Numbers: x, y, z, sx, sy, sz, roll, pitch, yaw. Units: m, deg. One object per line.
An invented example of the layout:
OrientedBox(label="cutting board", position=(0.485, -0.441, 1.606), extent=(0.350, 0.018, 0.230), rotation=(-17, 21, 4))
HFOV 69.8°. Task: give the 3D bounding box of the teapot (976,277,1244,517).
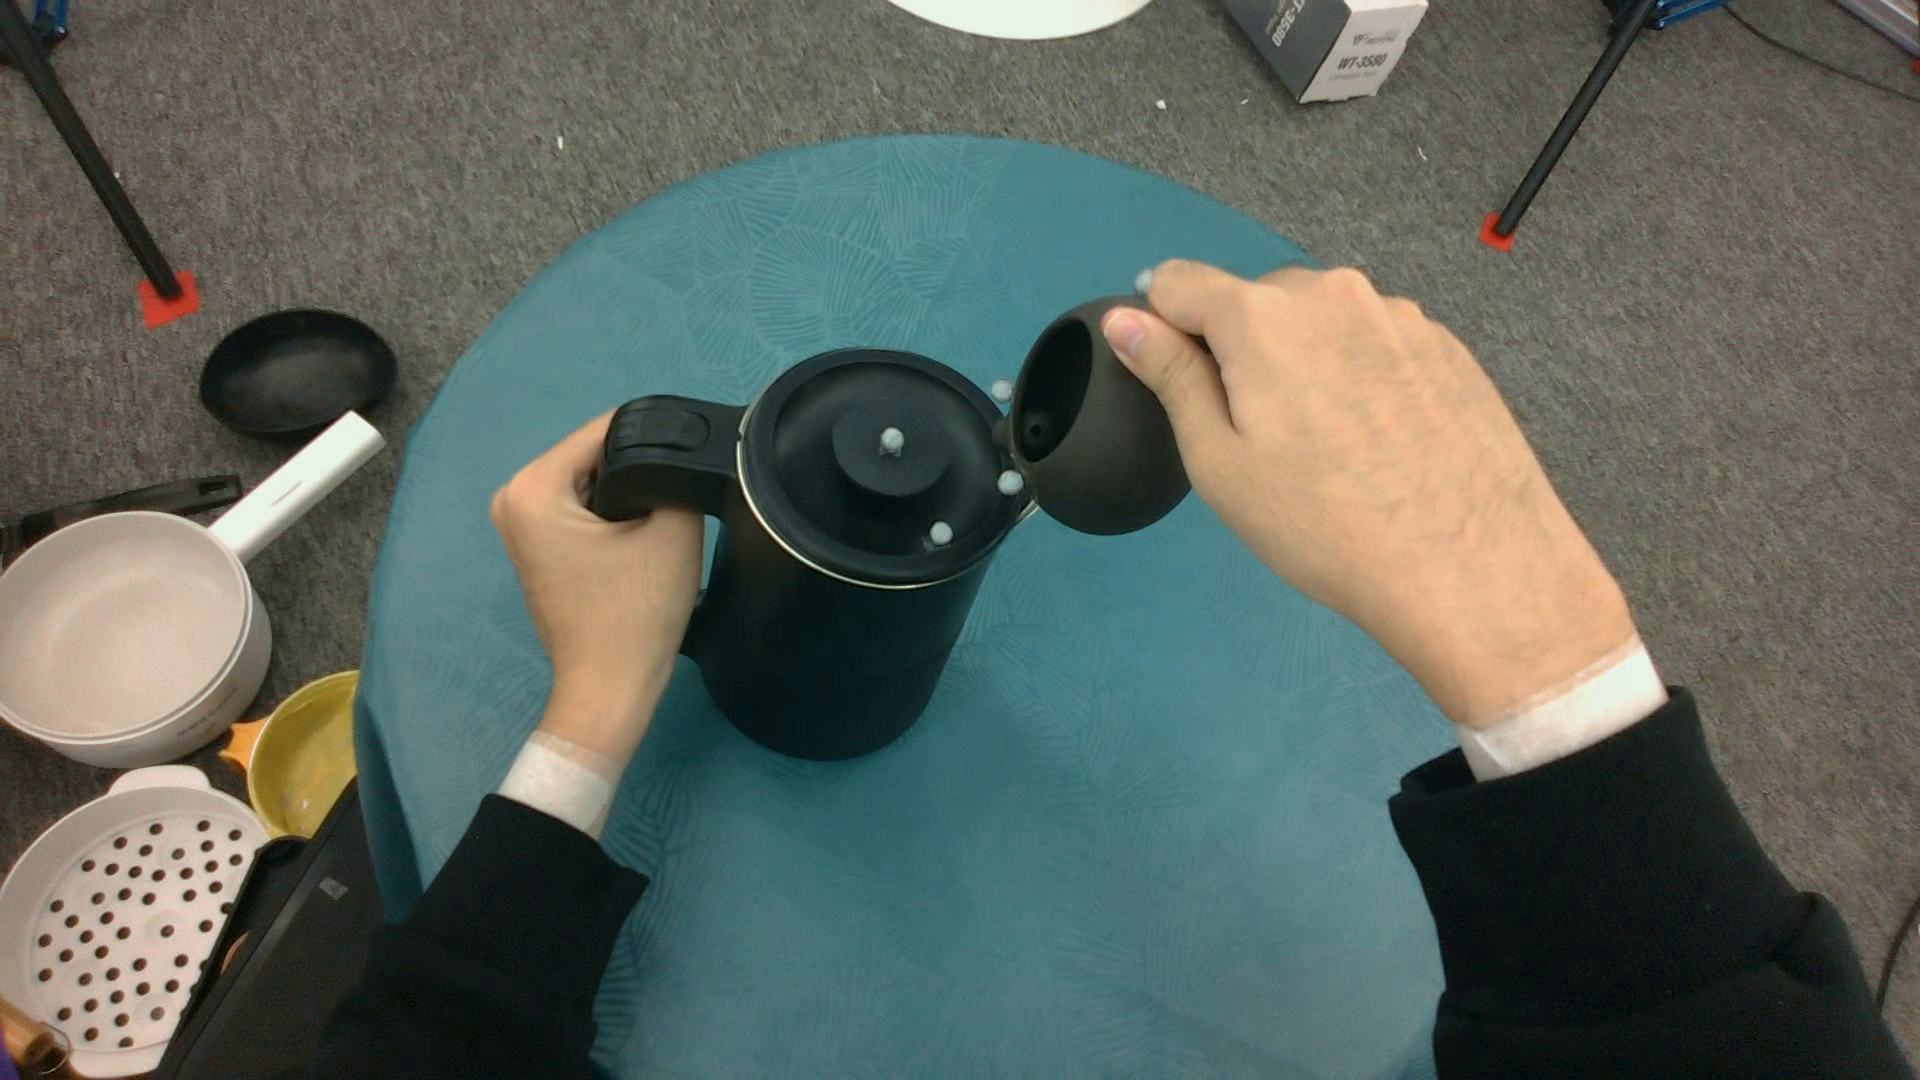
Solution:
OrientedBox(label="teapot", position=(0.050, -0.052, 0.460), extent=(0.053, 0.113, 0.083), rotation=(15, 73, -23))

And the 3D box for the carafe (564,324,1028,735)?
OrientedBox(label="carafe", position=(-0.074, -0.005, 0.570), extent=(0.172, 0.172, 0.115), rotation=(9, 59, -13))
